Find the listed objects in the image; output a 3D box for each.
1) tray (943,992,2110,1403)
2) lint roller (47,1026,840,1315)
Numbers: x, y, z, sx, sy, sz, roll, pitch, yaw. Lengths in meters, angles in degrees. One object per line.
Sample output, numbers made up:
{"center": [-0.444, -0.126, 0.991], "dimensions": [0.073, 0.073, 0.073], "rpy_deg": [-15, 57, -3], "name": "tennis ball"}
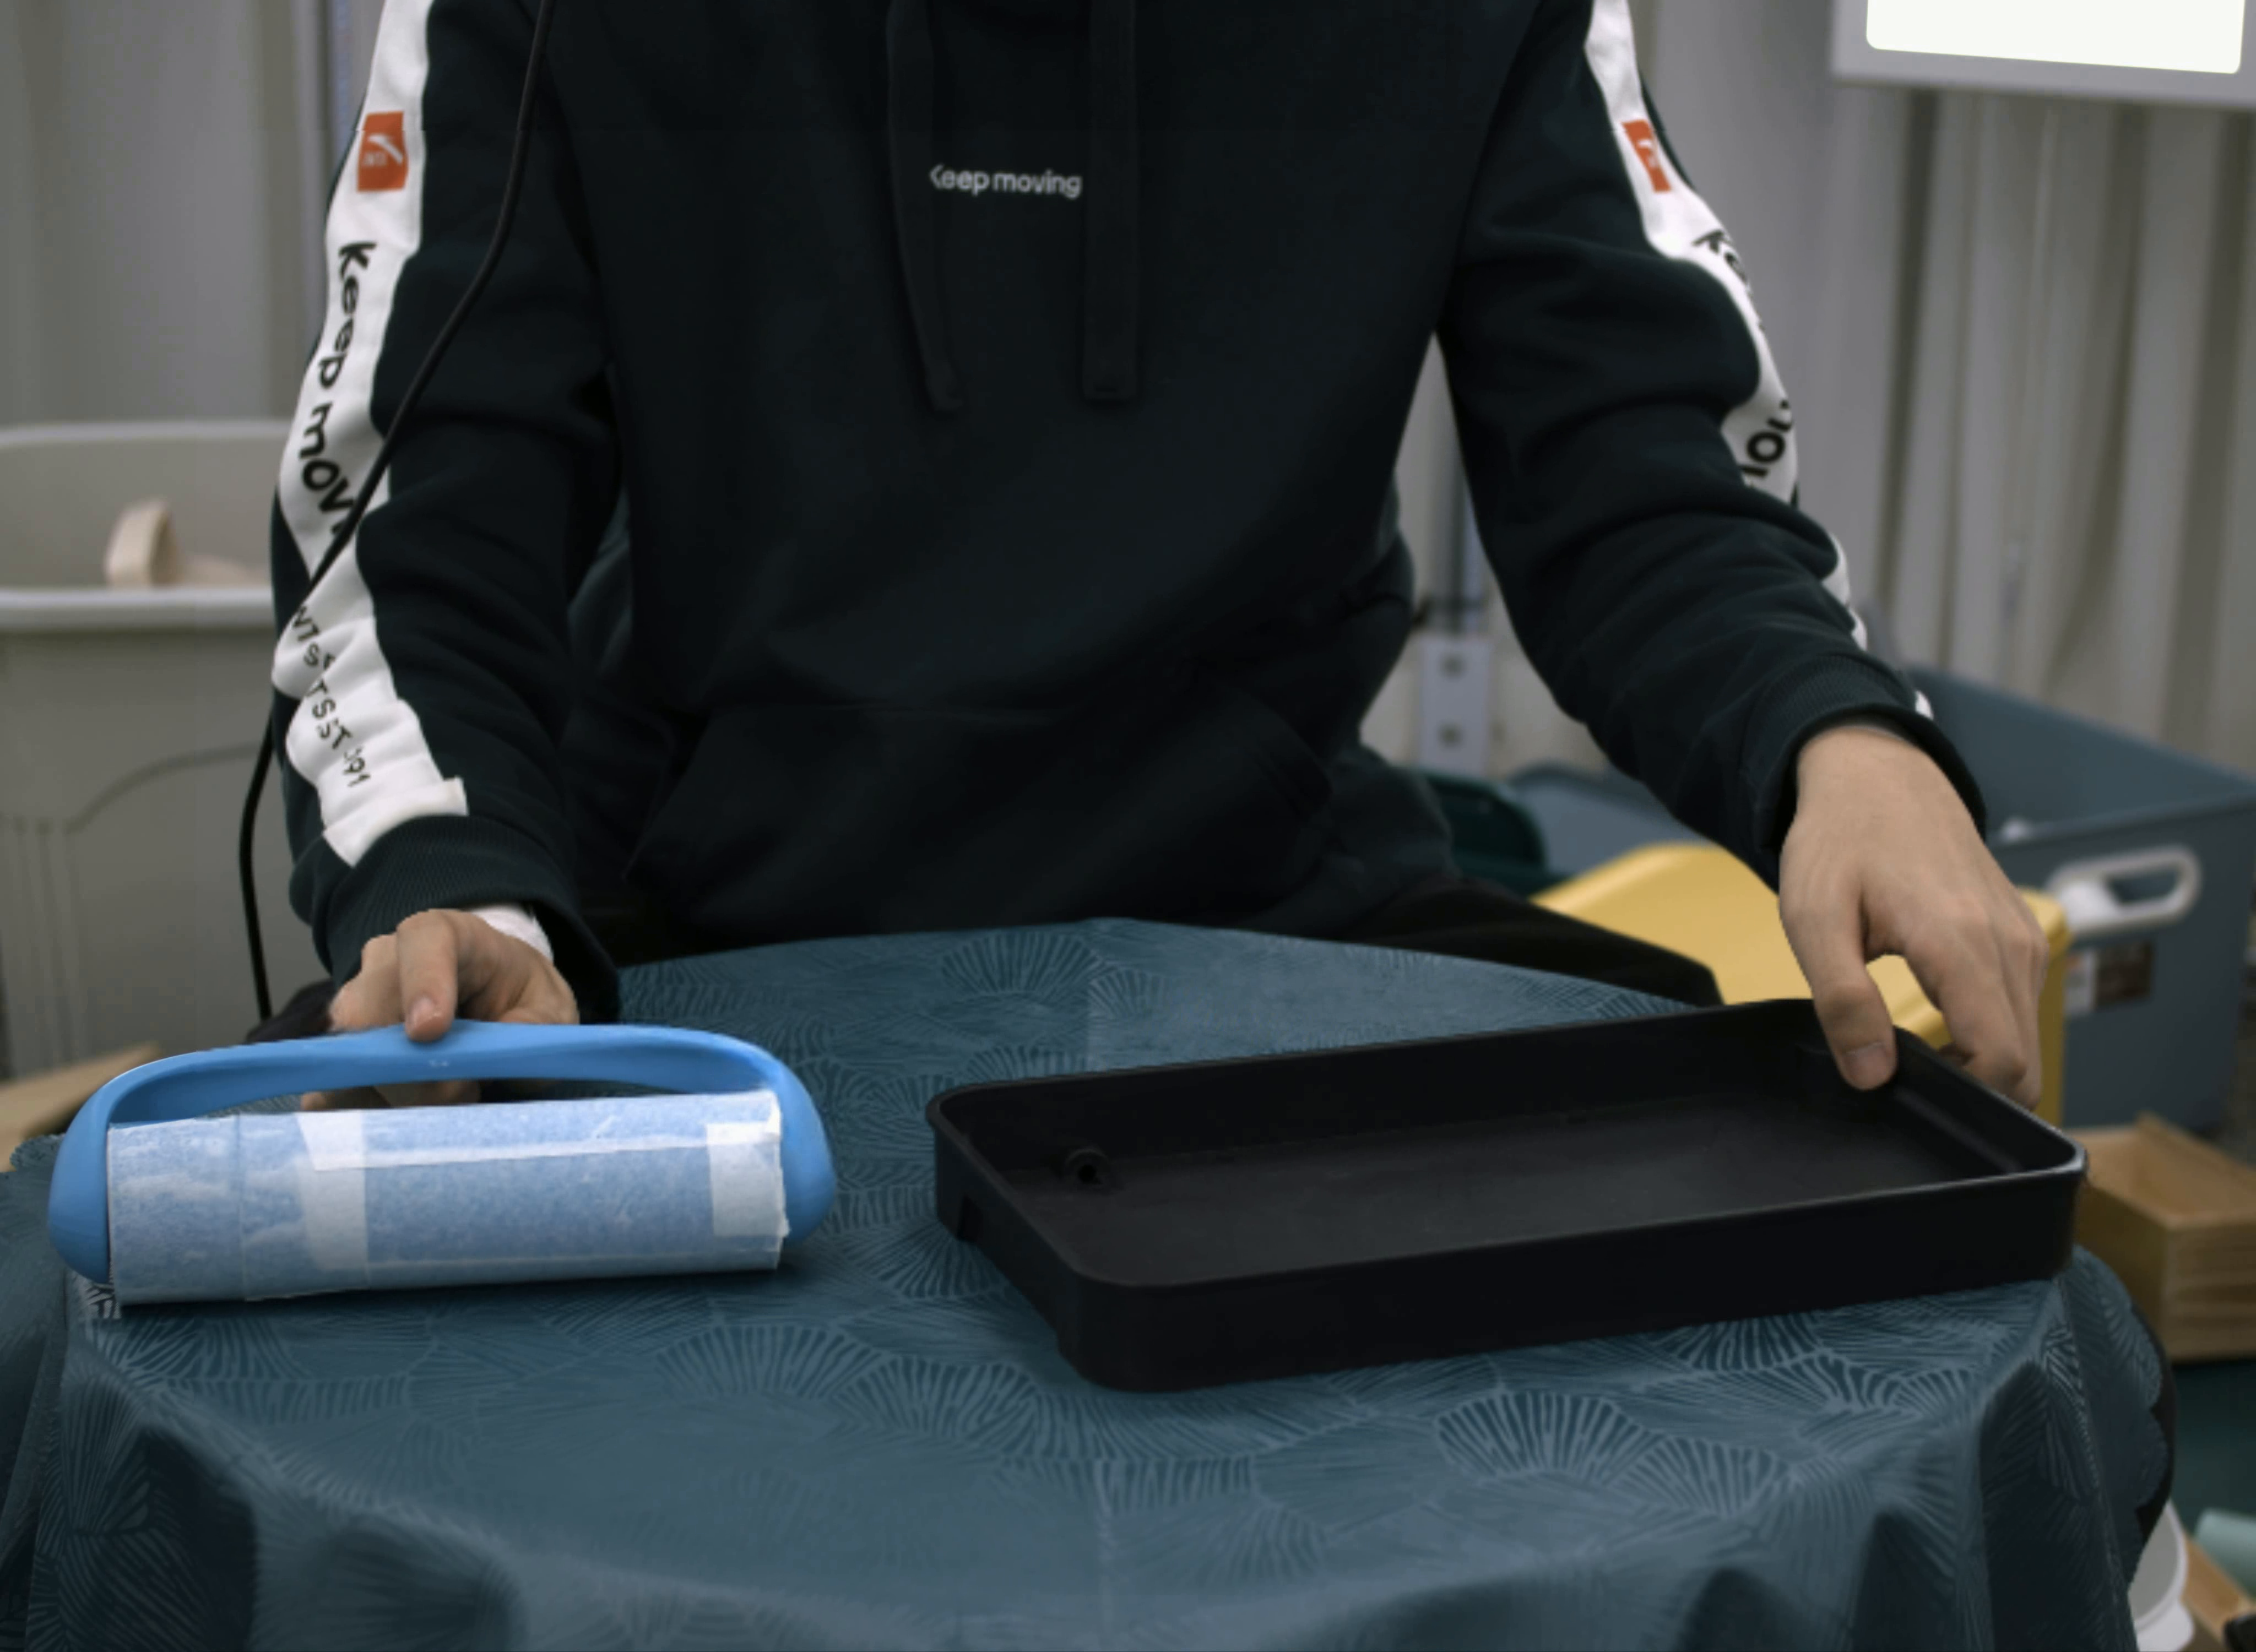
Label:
{"center": [0.117, 0.107, 1.579], "dimensions": [0.319, 0.037, 0.182], "rpy_deg": [-6, 16, -19], "name": "tray"}
{"center": [-0.210, 0.091, 1.585], "dimensions": [0.229, 0.068, 0.178], "rpy_deg": [-5, 18, -11], "name": "lint roller"}
